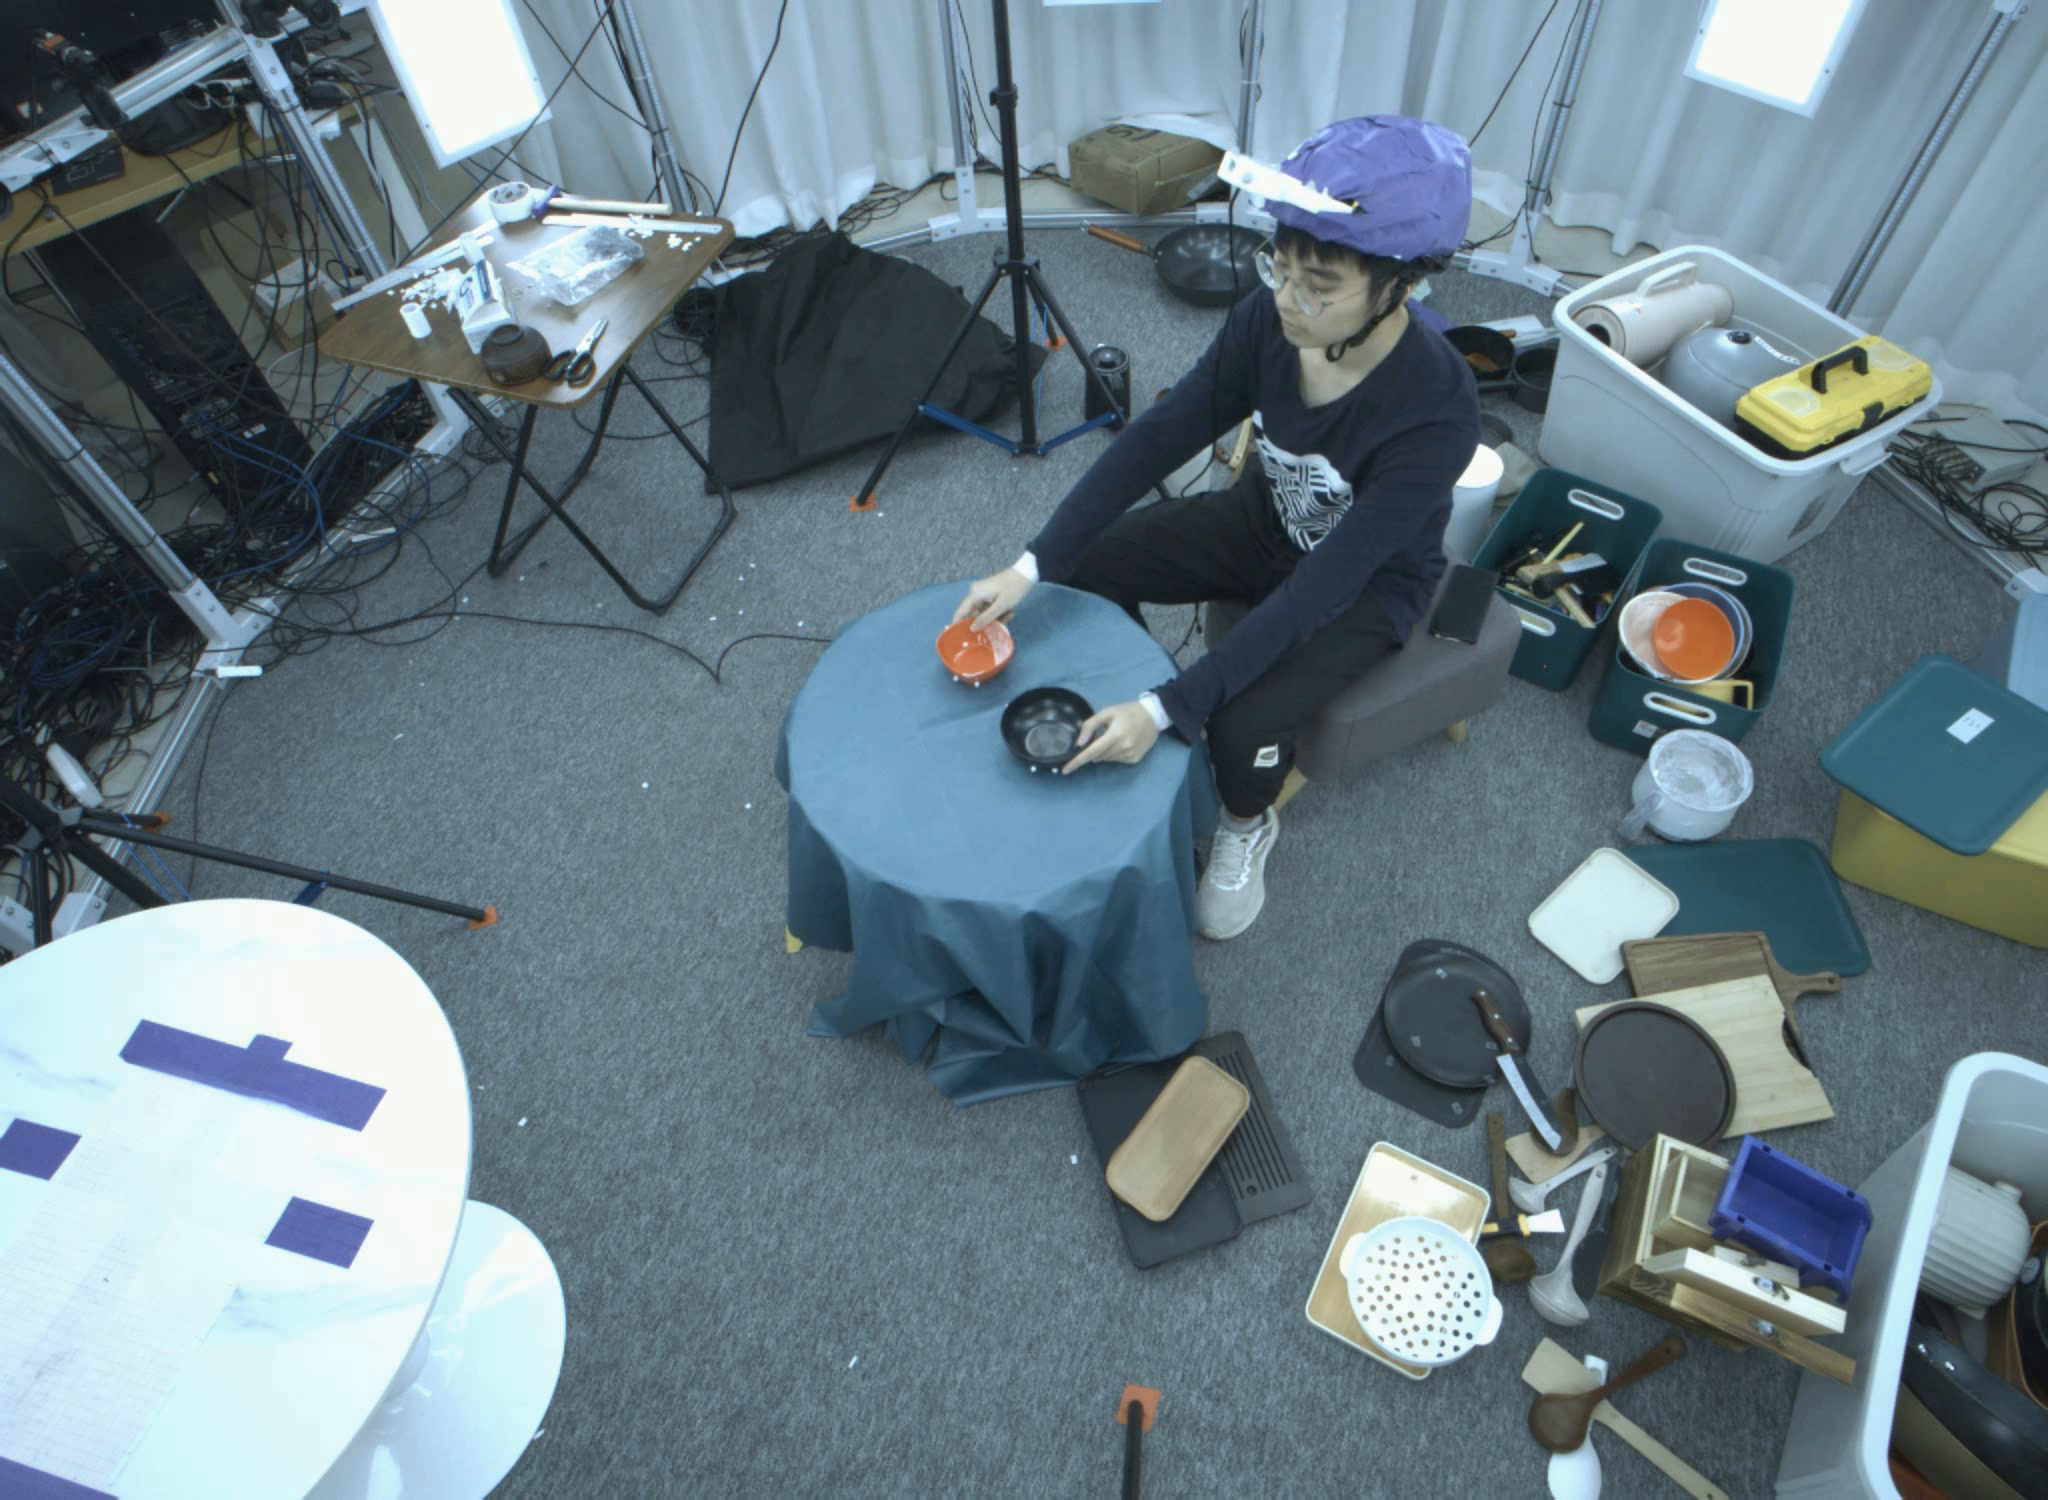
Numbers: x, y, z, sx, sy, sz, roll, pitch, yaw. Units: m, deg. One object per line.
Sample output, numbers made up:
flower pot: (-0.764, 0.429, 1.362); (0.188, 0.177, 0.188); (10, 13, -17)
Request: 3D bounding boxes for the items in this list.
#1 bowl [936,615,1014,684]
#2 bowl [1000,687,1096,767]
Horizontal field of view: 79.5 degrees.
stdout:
bowl: (-0.072, -0.146, 1.868); (0.119, 0.052, 0.118); (-1, 55, 3)
bowl: (0.035, -0.024, 1.784); (0.140, 0.050, 0.138); (2, 52, -1)
